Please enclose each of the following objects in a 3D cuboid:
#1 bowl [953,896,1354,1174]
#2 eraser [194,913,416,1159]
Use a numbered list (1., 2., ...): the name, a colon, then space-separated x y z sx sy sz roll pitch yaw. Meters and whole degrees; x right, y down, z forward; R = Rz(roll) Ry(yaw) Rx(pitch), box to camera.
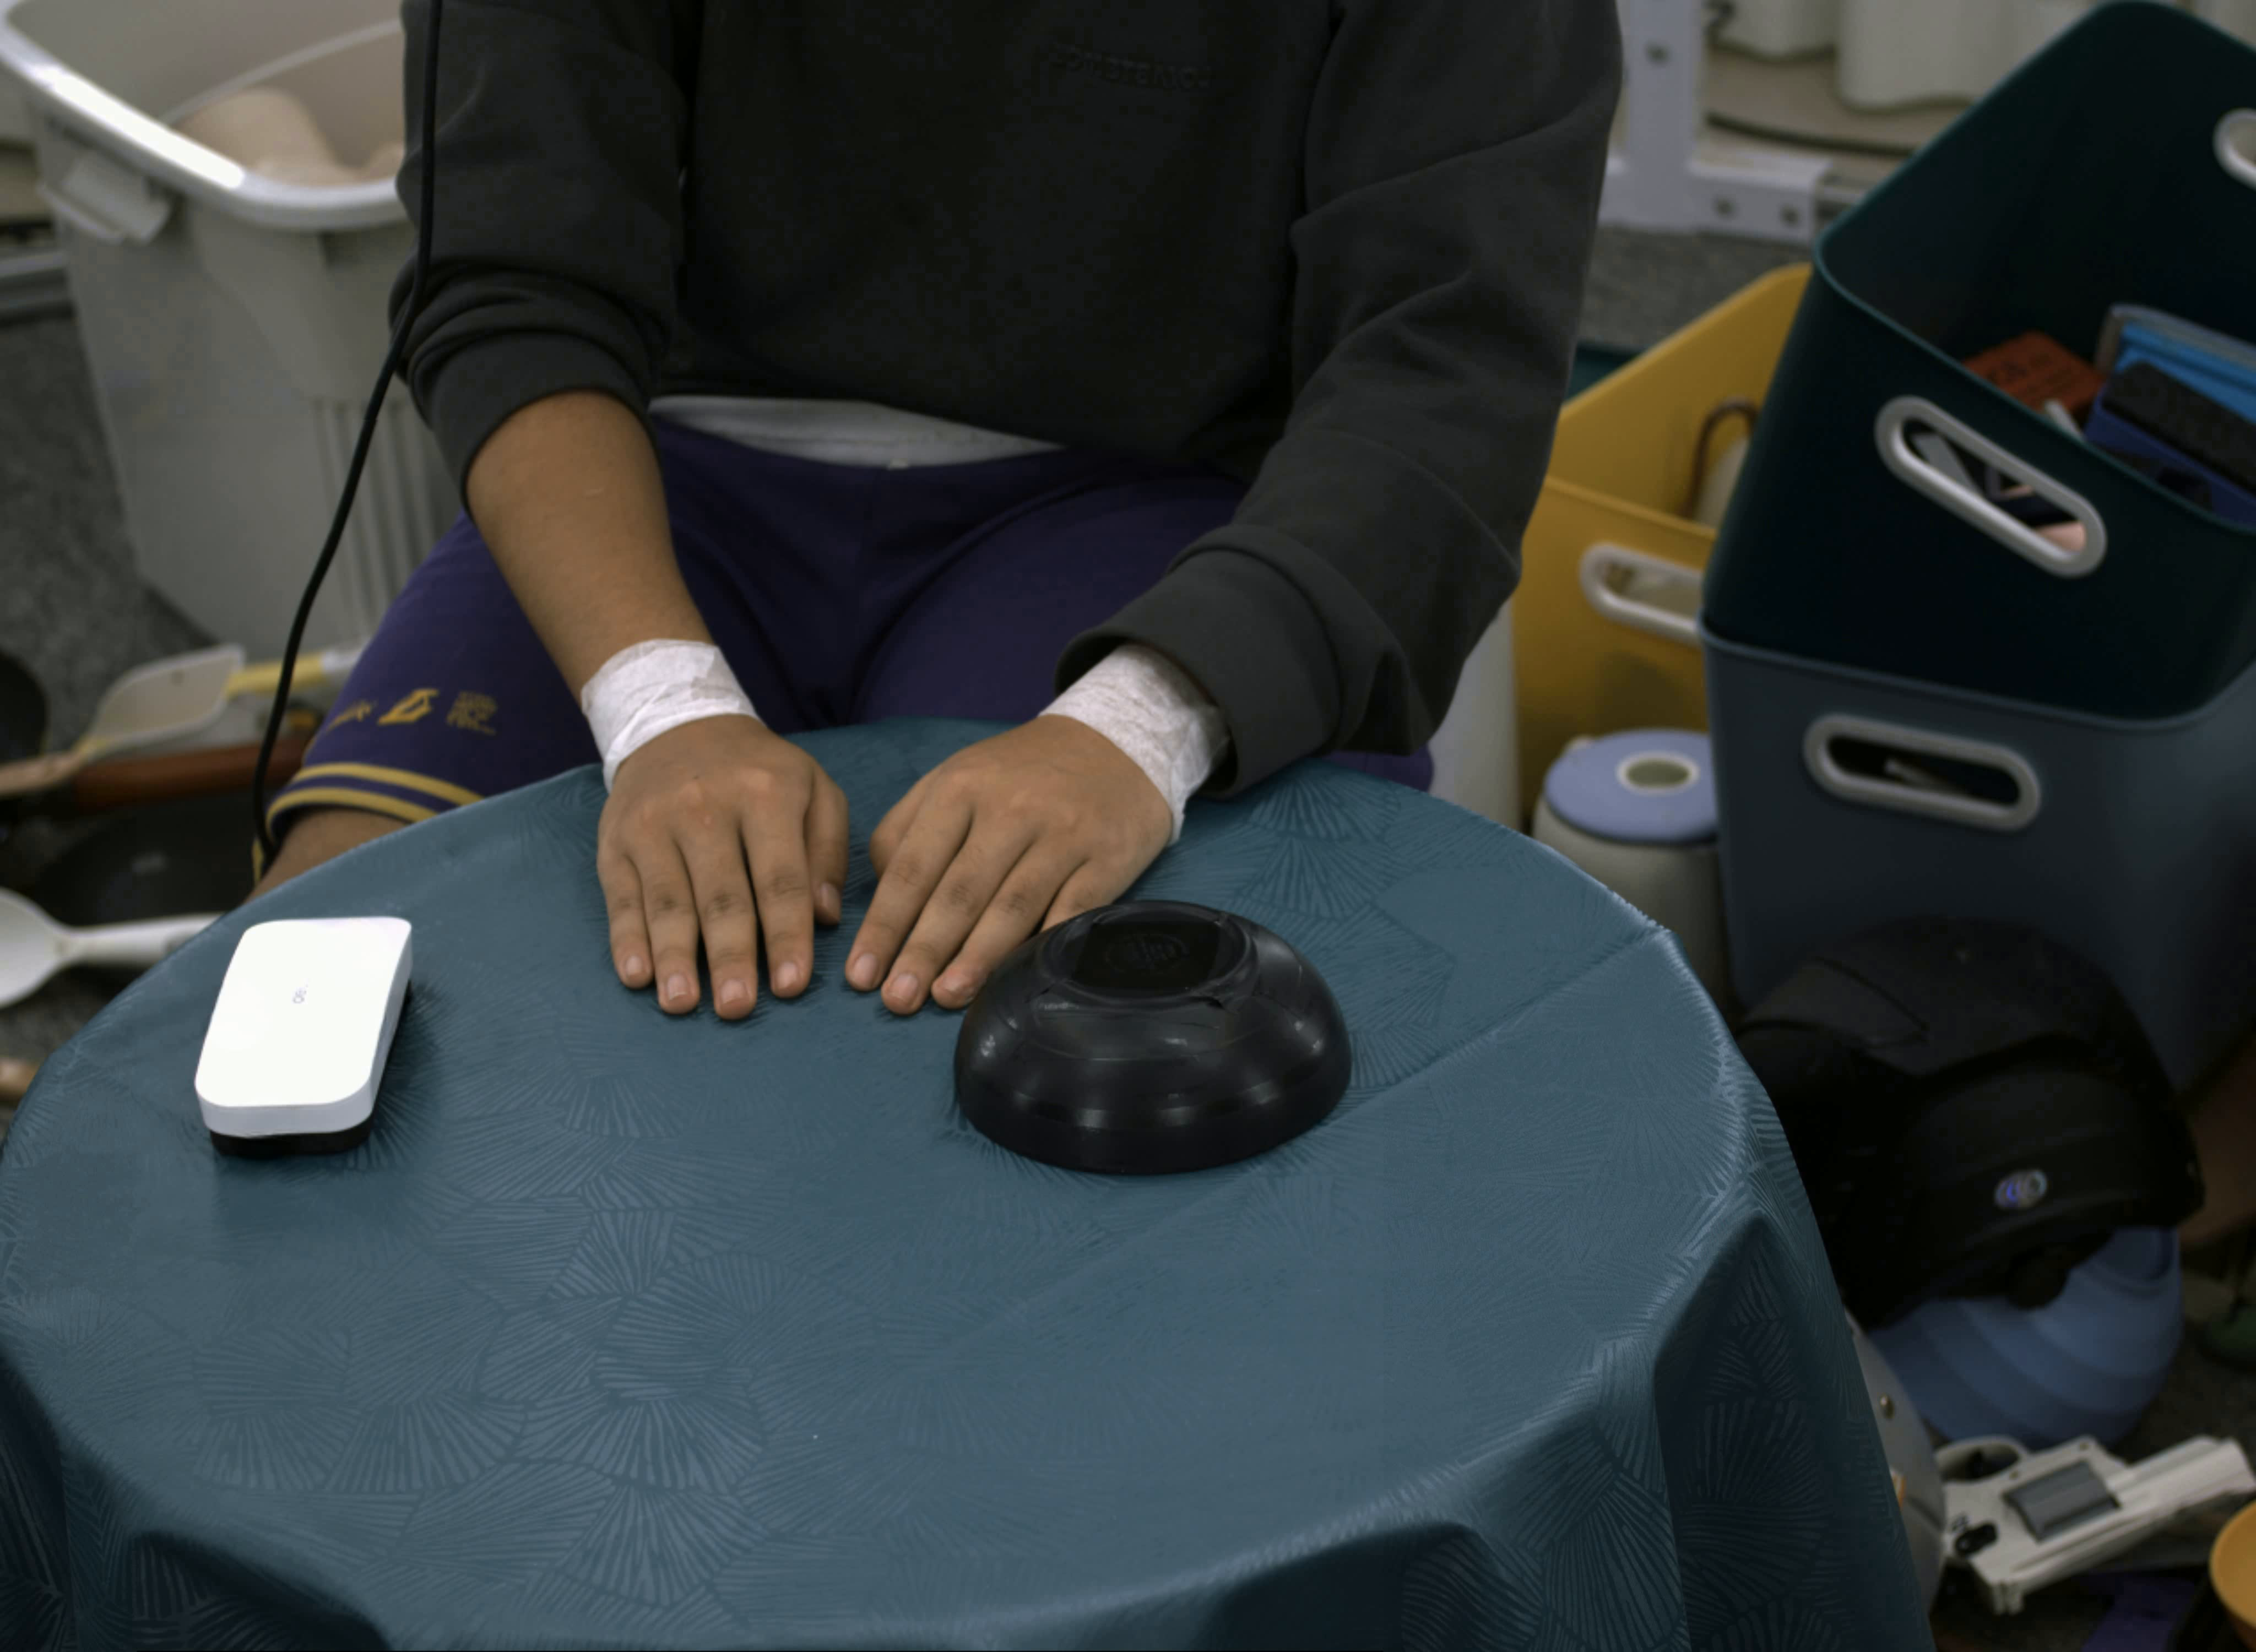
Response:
1. bowl: 0.007 0.062 1.921 0.139 0.049 0.142 -3 28 2
2. eraser: -0.283 0.070 1.955 0.063 0.034 0.133 0 29 3
